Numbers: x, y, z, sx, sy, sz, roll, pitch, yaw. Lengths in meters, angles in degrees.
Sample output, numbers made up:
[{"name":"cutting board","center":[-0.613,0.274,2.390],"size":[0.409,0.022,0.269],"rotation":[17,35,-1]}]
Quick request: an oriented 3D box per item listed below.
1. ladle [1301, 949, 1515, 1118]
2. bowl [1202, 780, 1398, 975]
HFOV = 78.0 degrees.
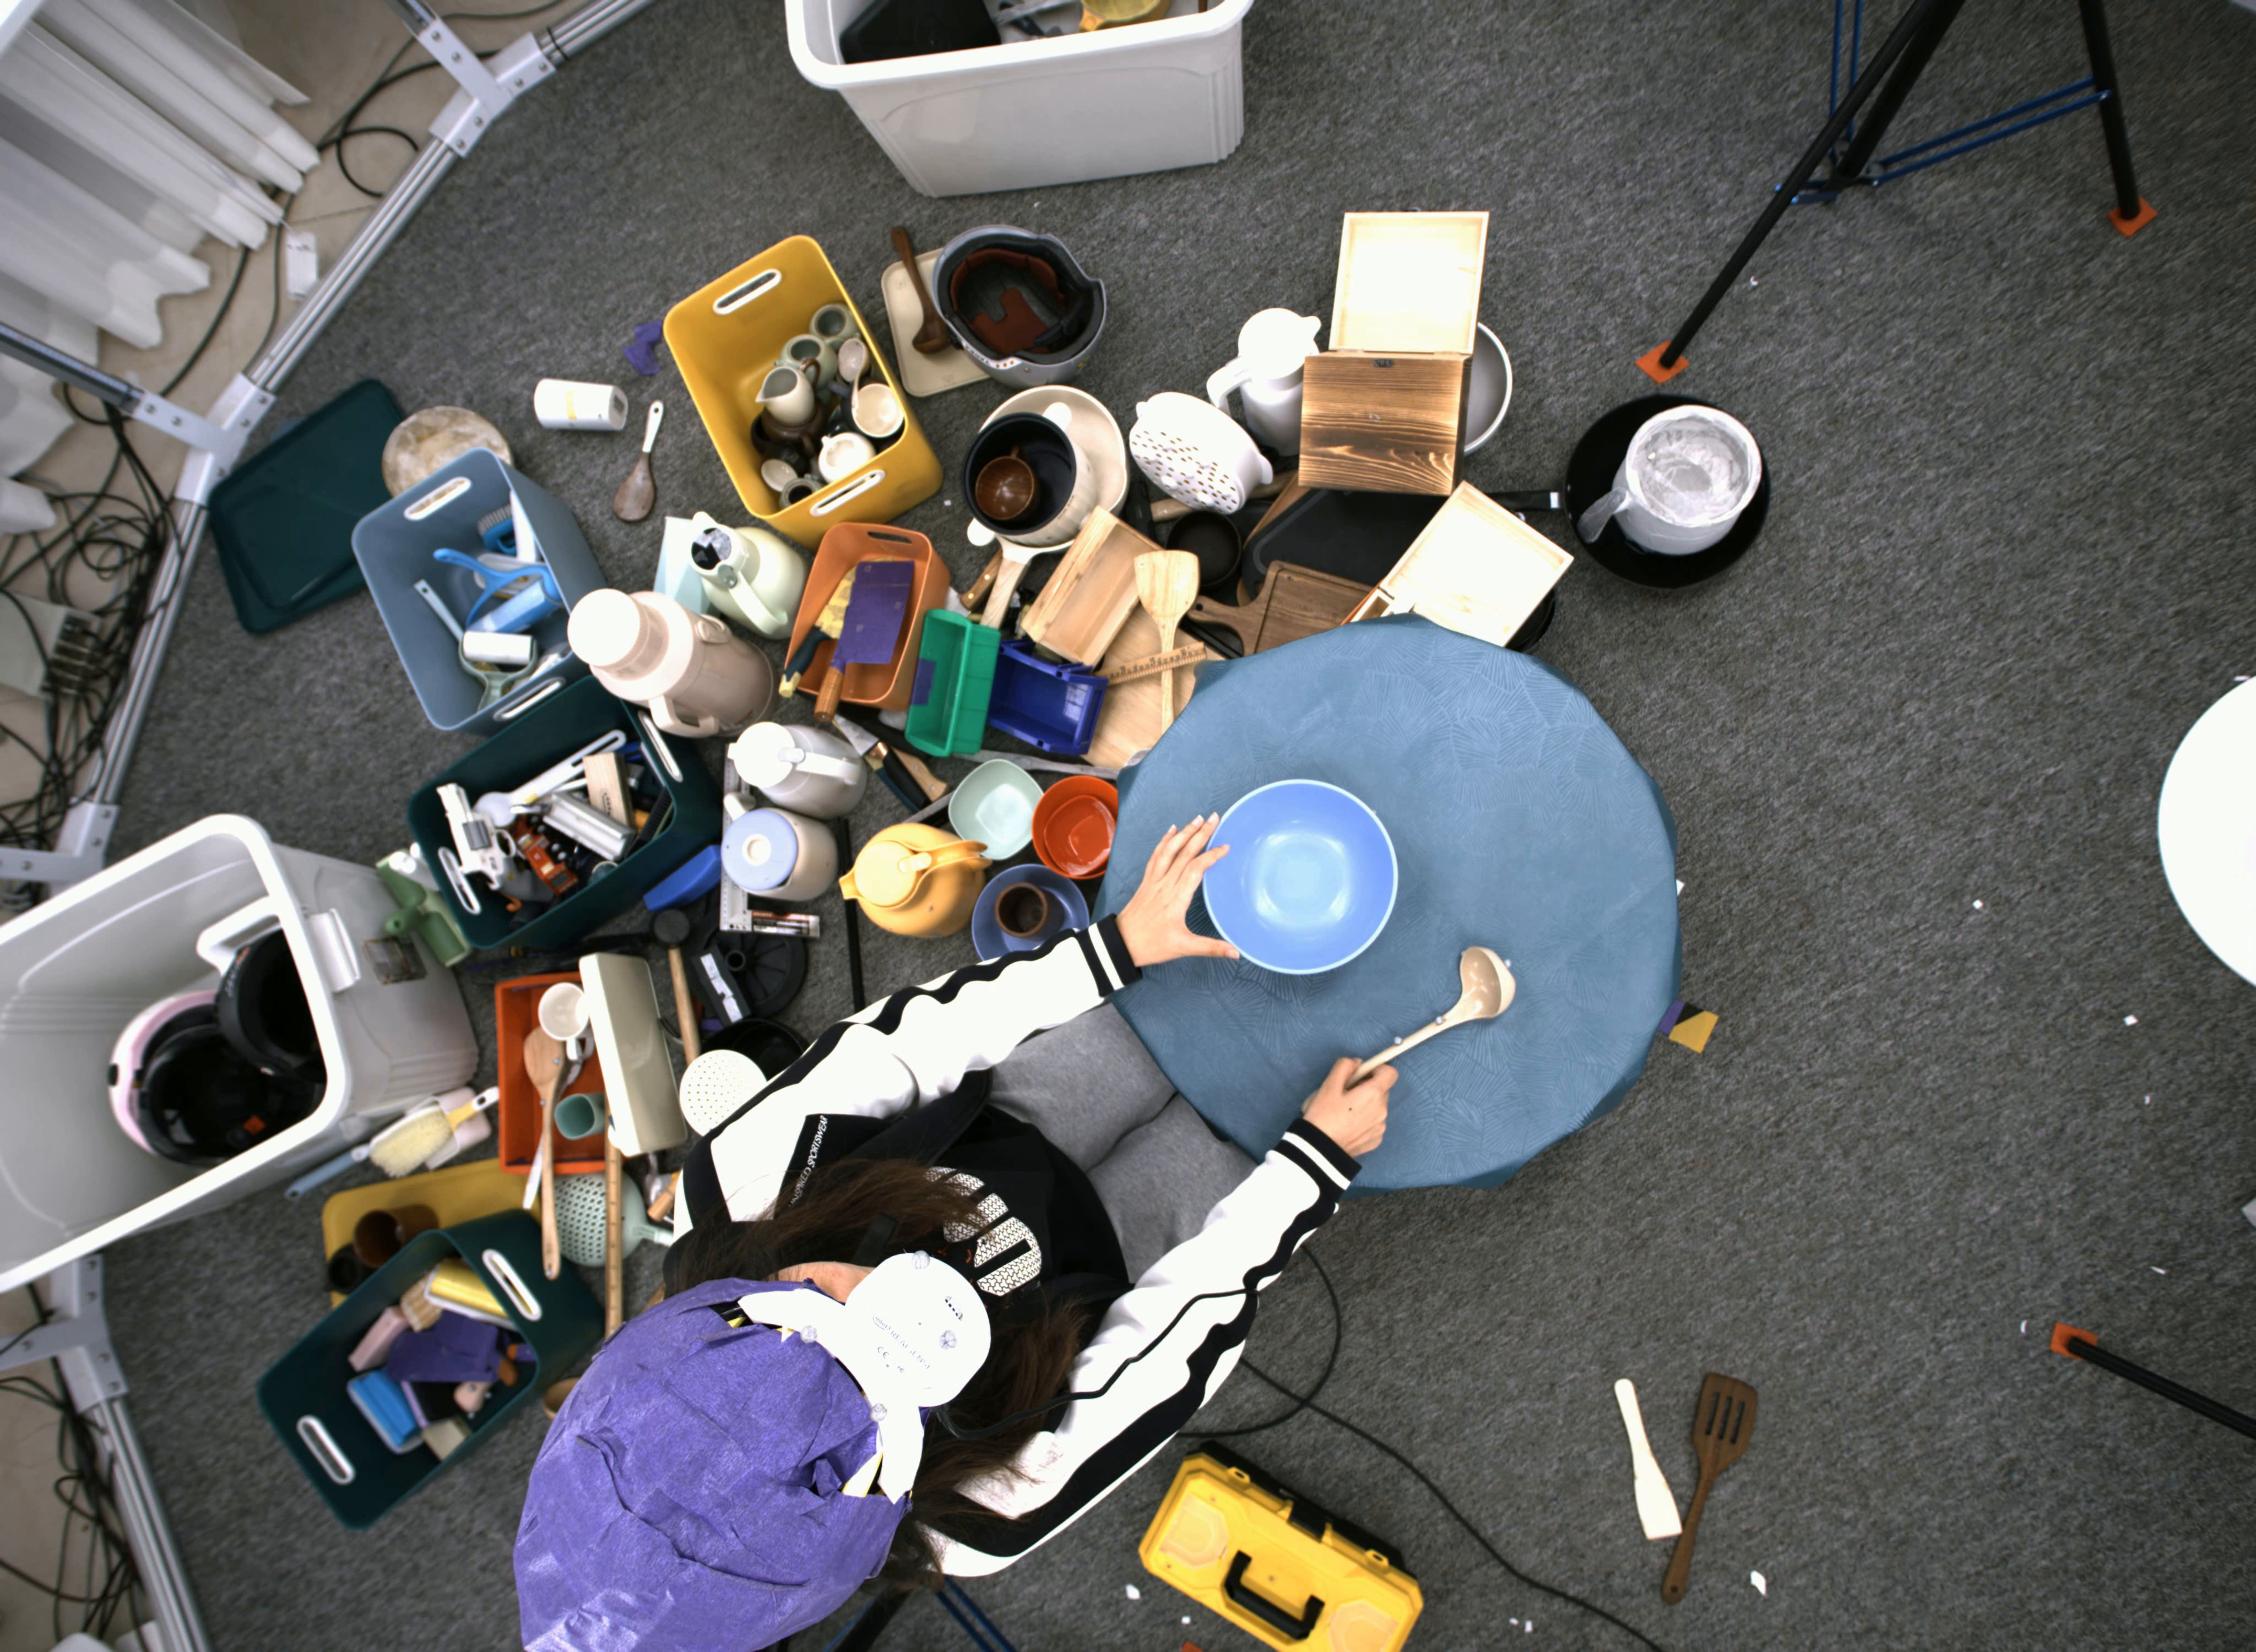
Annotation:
[{"name":"ladle","center":[0.276,0.211,1.406],"size":[0.255,0.074,0.071],"rotation":[-32,51,2]},{"name":"bowl","center":[0.178,0.054,1.433],"size":[0.197,0.095,0.196],"rotation":[-1,87,9]}]
